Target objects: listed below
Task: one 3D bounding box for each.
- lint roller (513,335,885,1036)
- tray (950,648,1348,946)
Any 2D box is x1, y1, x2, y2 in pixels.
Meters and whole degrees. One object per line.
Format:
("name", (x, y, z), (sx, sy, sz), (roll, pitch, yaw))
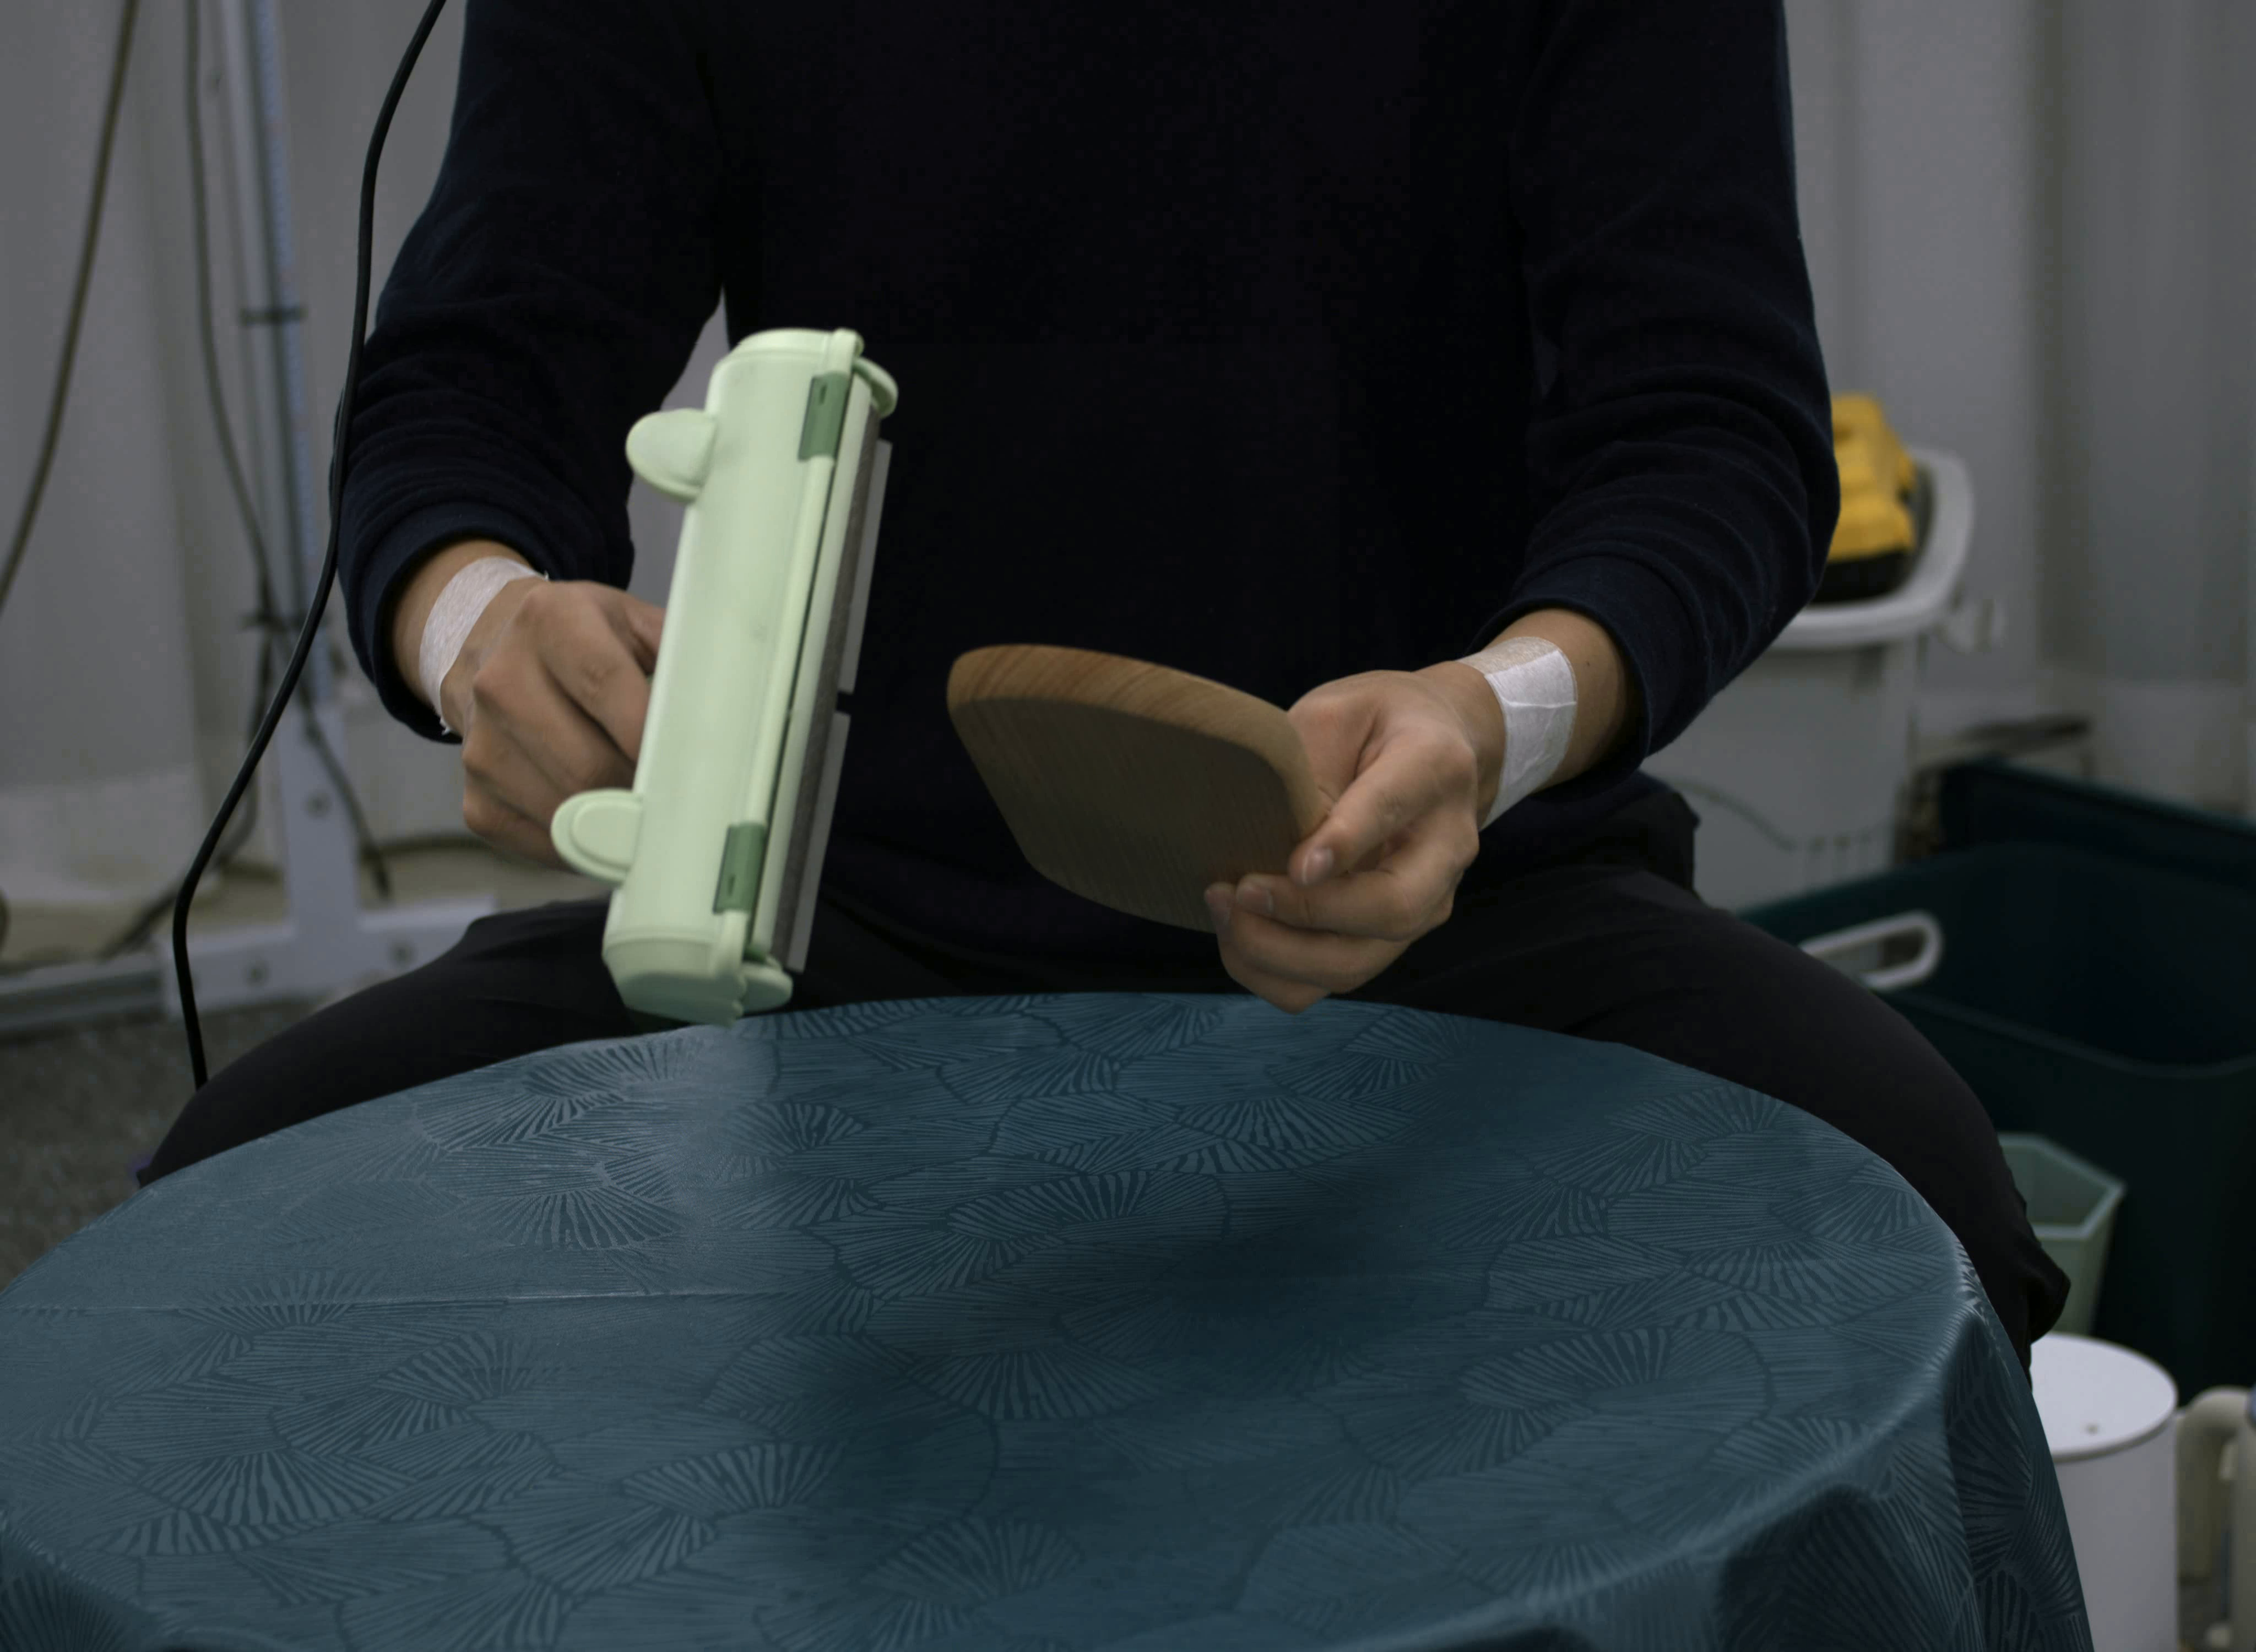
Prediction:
("lint roller", (-0.148, -0.034, 1.583), (0.081, 0.201, 0.183), (23, -24, -34))
("tray", (0.007, -0.005, 1.577), (0.101, 0.020, 0.229), (12, -17, 11))
